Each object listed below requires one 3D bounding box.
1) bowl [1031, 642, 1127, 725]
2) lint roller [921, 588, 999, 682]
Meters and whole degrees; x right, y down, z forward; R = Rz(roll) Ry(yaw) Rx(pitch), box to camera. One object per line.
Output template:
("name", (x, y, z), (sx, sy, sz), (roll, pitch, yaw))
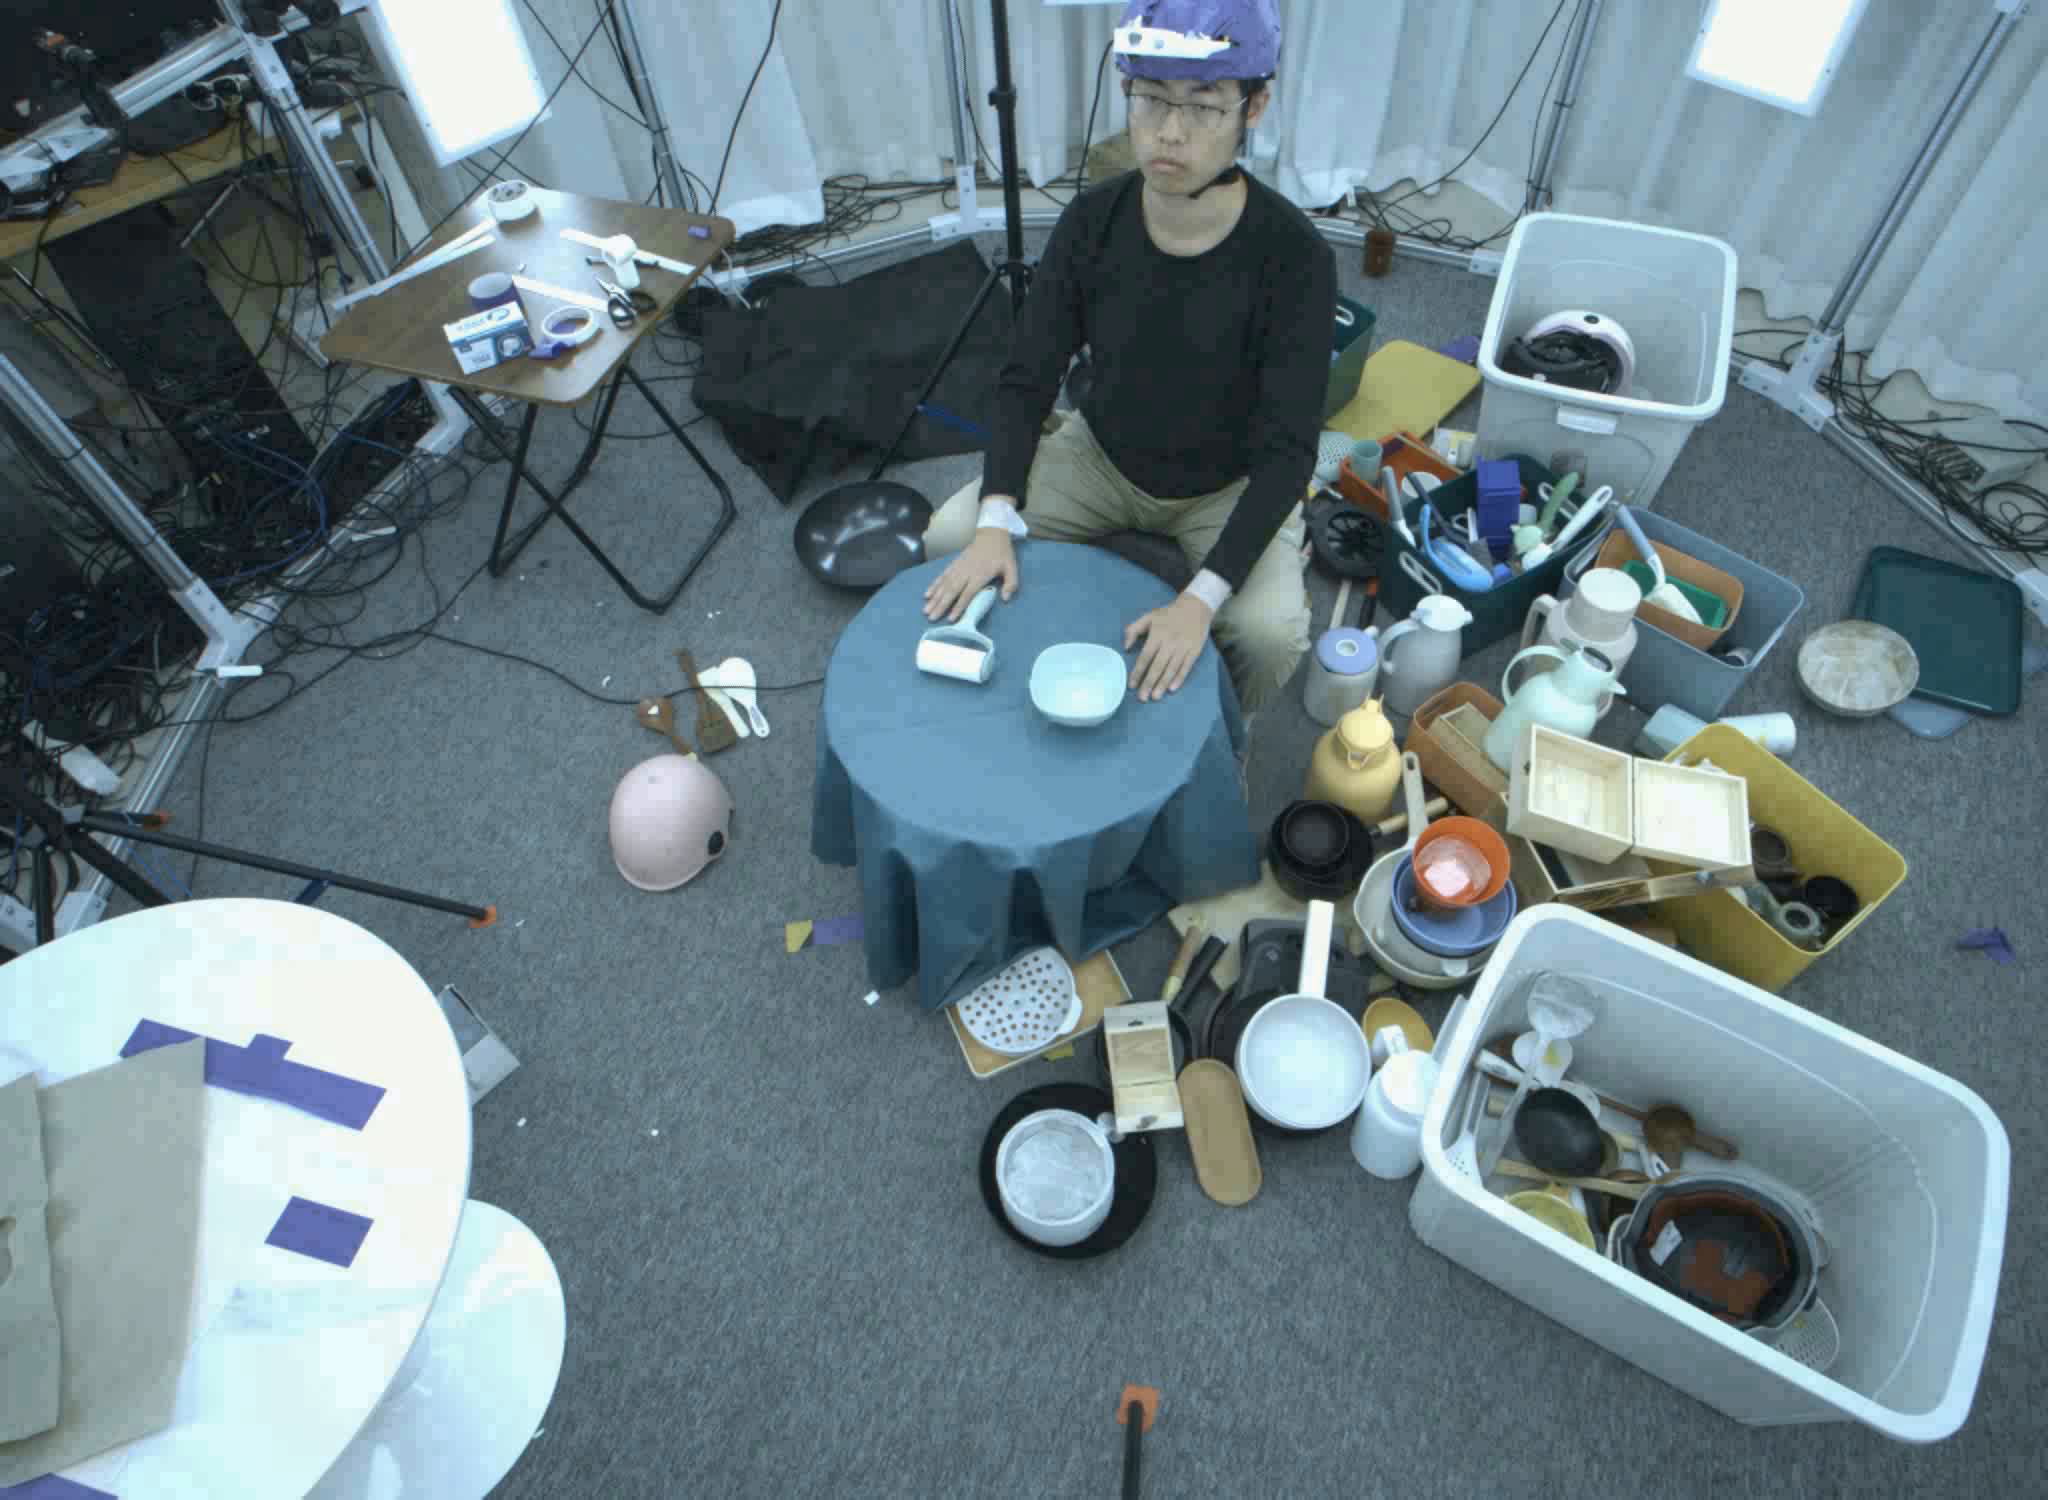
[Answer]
("bowl", (0.081, -0.087, 1.812), (0.151, 0.059, 0.150), (-1, 56, 3))
("lint roller", (-0.077, -0.190, 1.897), (0.115, 0.049, 0.197), (12, 55, 13))
